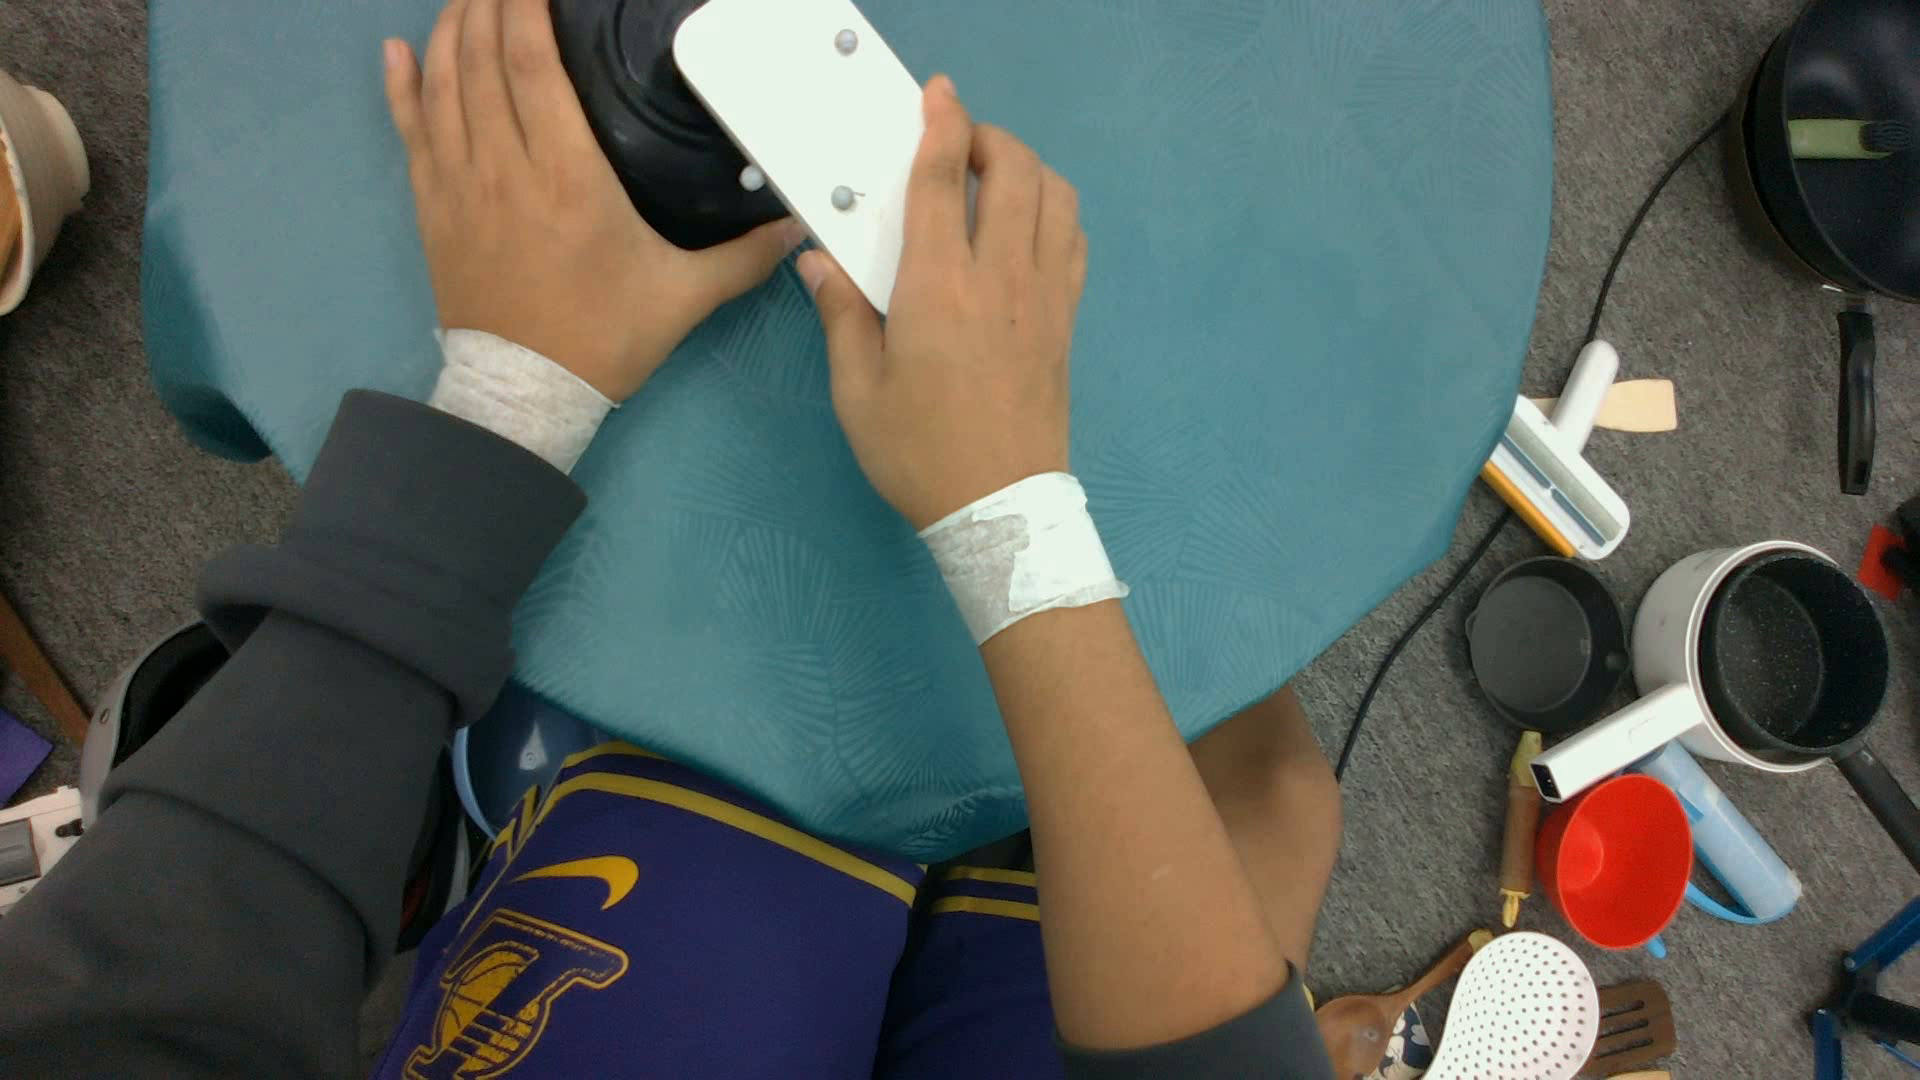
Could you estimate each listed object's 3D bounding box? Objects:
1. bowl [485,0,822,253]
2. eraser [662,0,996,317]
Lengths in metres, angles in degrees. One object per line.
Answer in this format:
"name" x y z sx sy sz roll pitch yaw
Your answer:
"bowl" -0.105 -0.183 0.524 0.140 0.049 0.140 1 88 -25
"eraser" -0.048 -0.142 0.494 0.063 0.034 0.131 -39 90 -7
